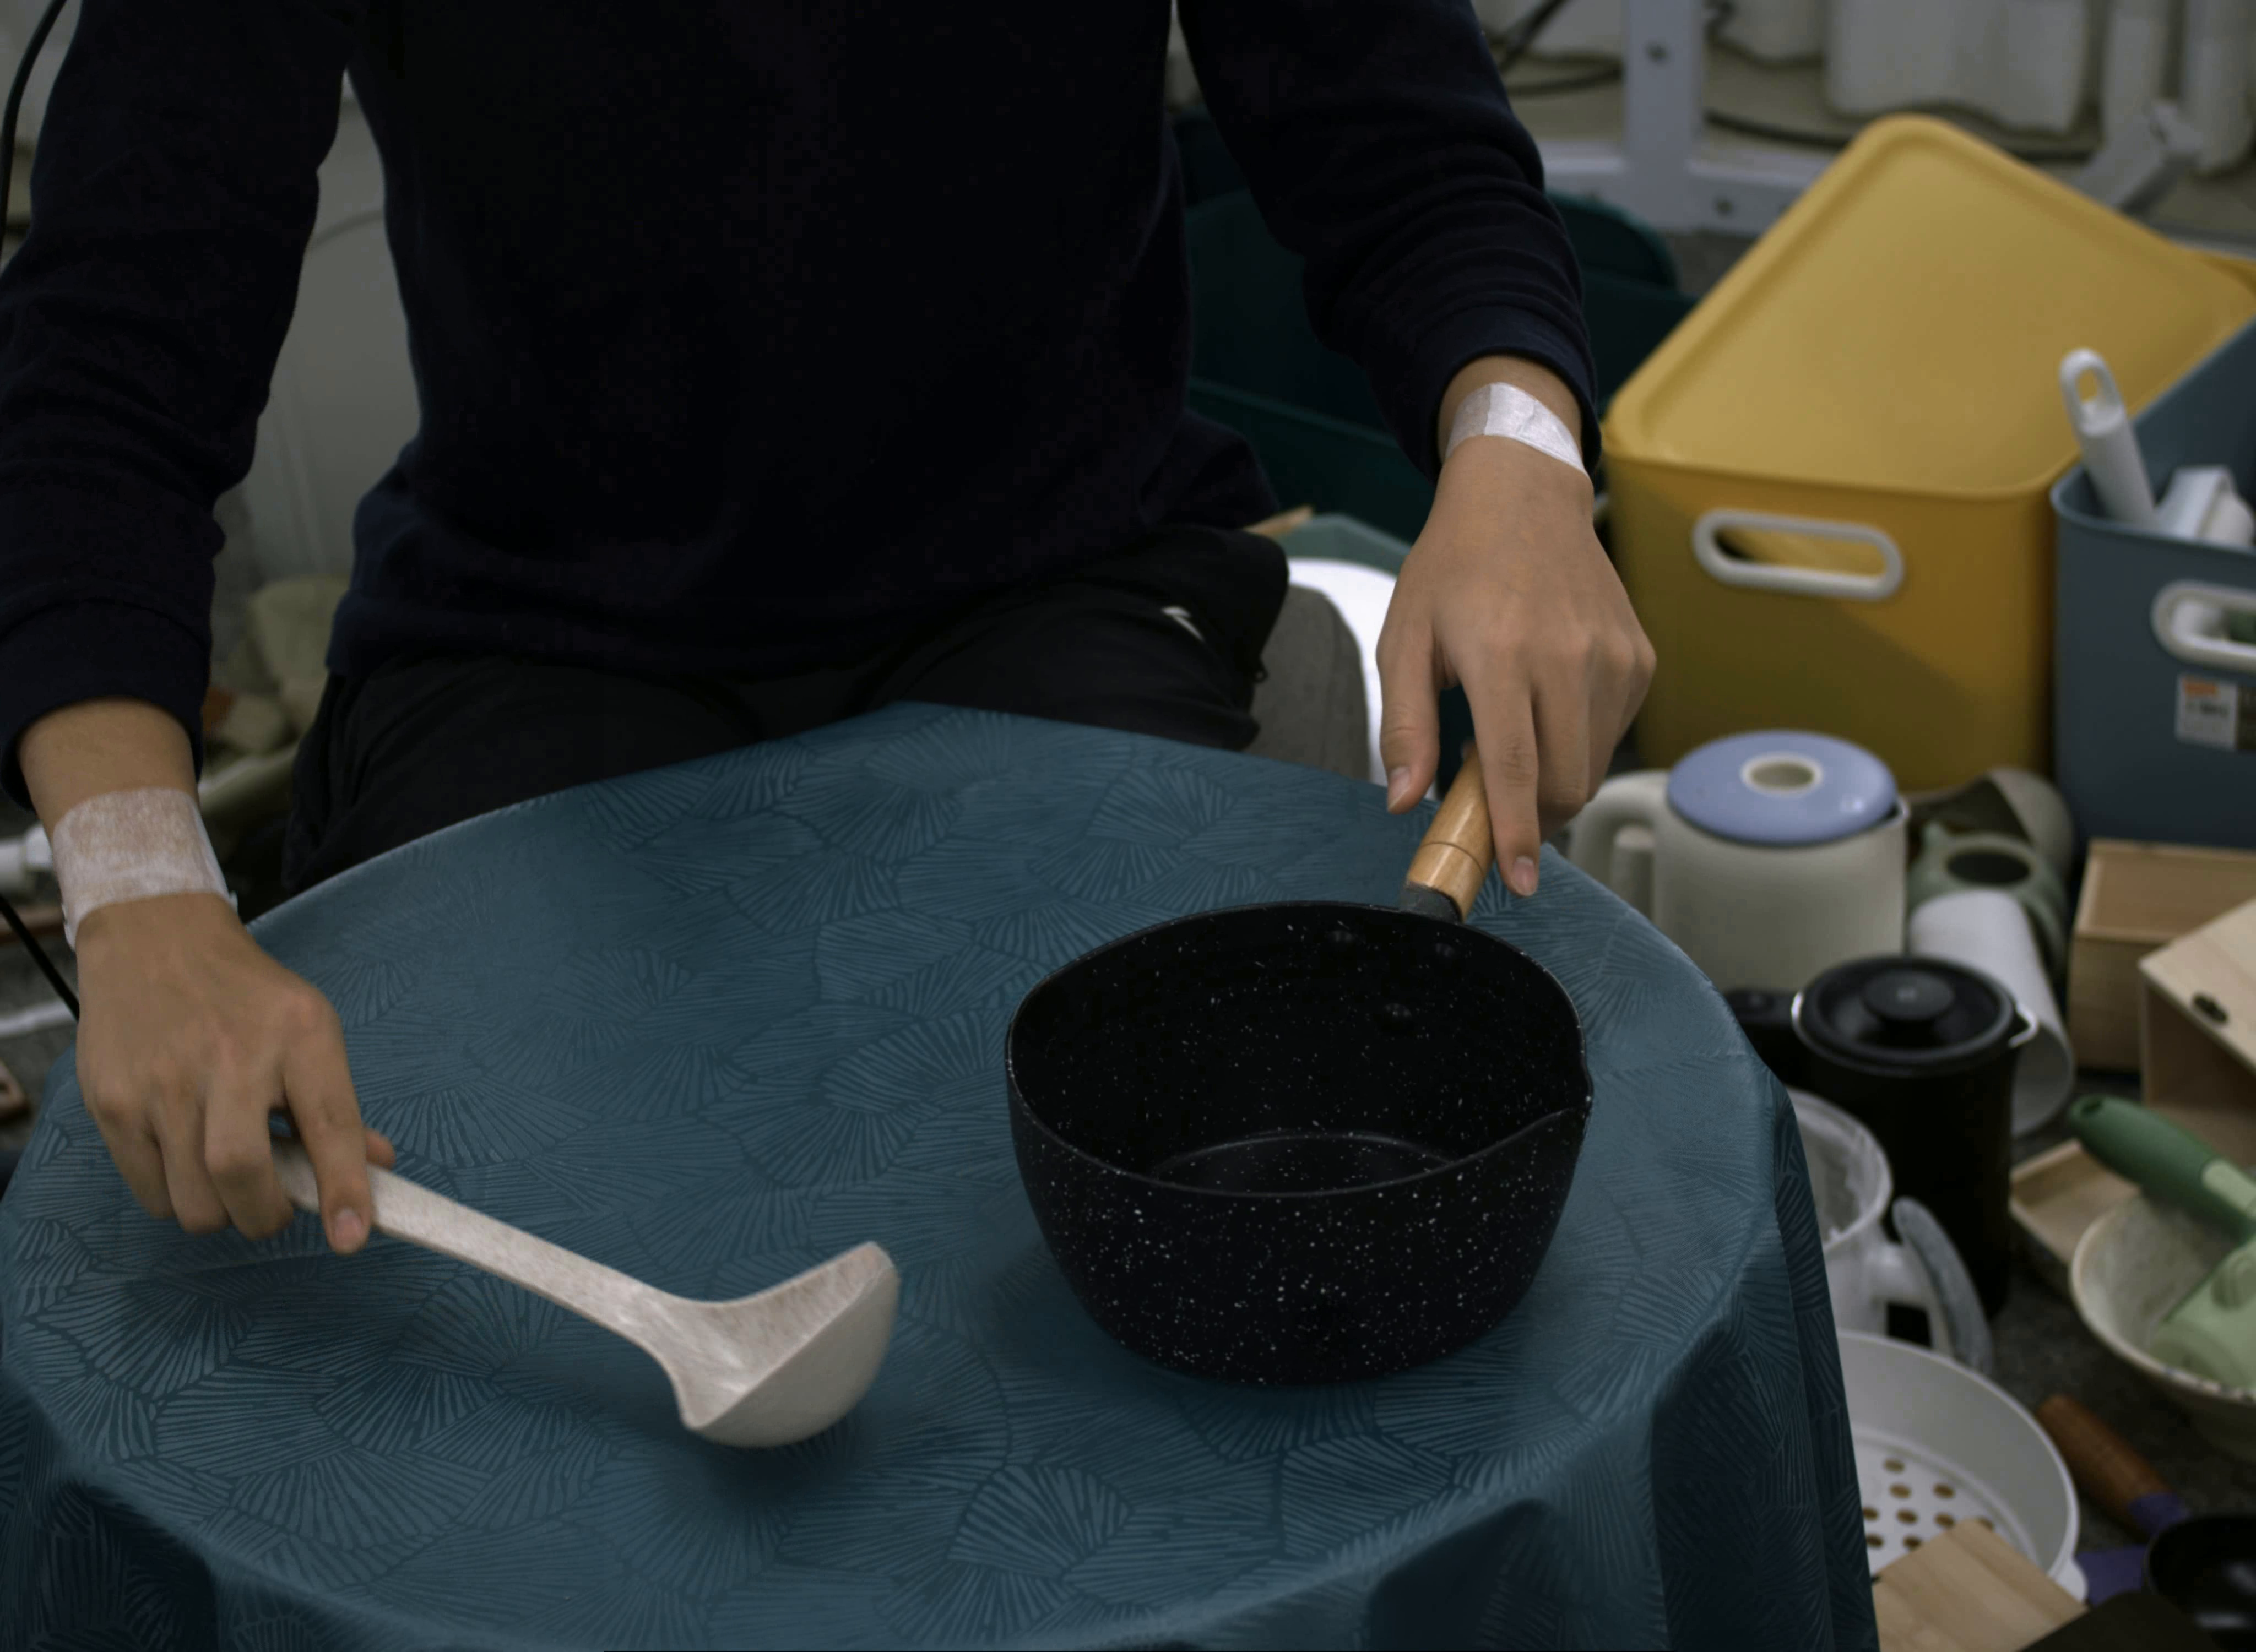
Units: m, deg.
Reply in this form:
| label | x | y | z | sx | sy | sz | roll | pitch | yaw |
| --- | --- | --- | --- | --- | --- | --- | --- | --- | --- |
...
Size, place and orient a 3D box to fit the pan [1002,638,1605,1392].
| label | x | y | z | sx | sy | sz | roll | pitch | yaw |
| --- | --- | --- | --- | --- | --- | --- | --- | --- | --- |
| pan | 0.084 | 0.058 | 1.859 | 0.206 | 0.107 | 0.349 | 7 | 30 | 21 |

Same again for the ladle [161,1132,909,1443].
| label | x | y | z | sx | sy | sz | roll | pitch | yaw |
| --- | --- | --- | --- | --- | --- | --- | --- | --- | --- |
| ladle | -0.194 | 0.122 | 1.766 | 0.274 | 0.068 | 0.091 | 20 | 40 | 22 |
